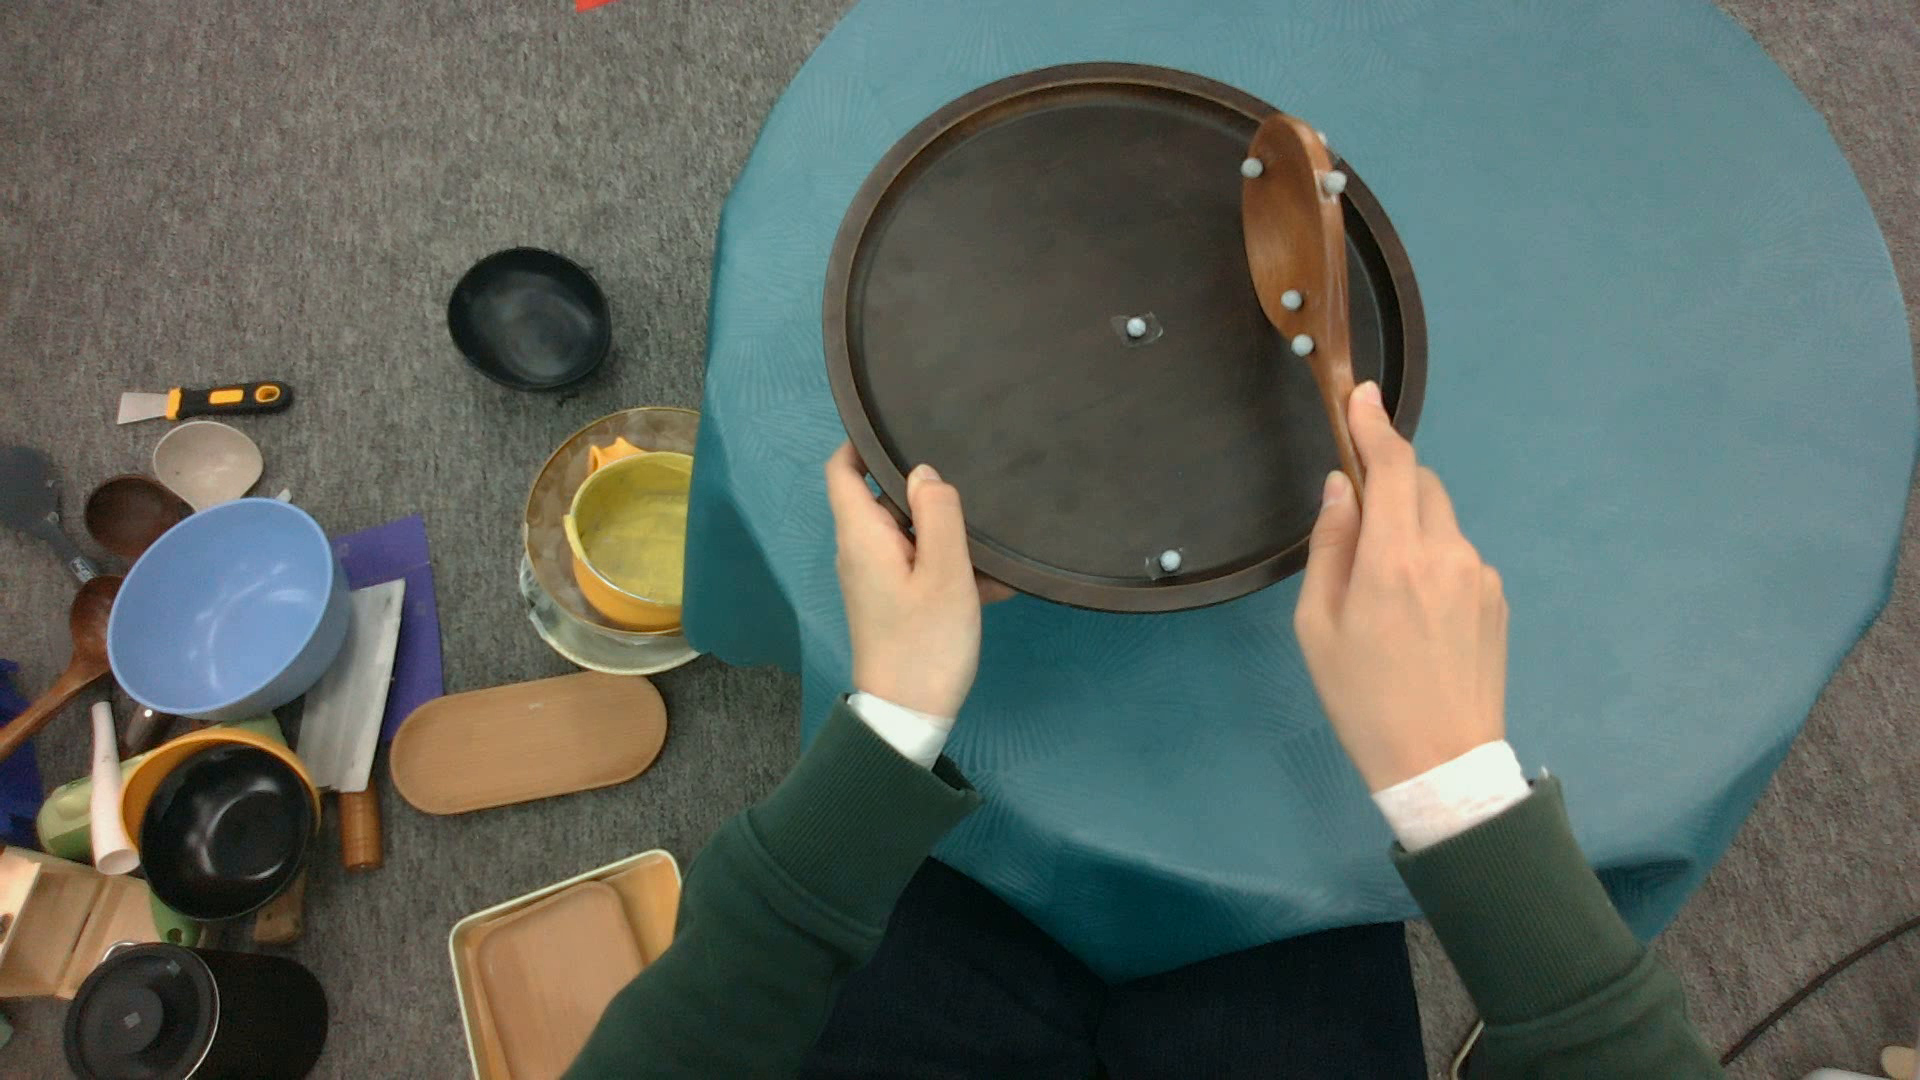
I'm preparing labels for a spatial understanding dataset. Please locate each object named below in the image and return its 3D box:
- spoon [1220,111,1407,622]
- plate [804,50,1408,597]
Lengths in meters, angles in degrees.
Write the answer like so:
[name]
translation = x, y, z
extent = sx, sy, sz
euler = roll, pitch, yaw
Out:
[spoon]
translation = 0.139, -0.071, 0.537
extent = 0.017, 0.075, 0.216
euler = -5, 70, -13
[plate]
translation = 0.061, -0.096, 0.580
extent = 0.255, 0.029, 0.255
euler = 1, 70, -4
